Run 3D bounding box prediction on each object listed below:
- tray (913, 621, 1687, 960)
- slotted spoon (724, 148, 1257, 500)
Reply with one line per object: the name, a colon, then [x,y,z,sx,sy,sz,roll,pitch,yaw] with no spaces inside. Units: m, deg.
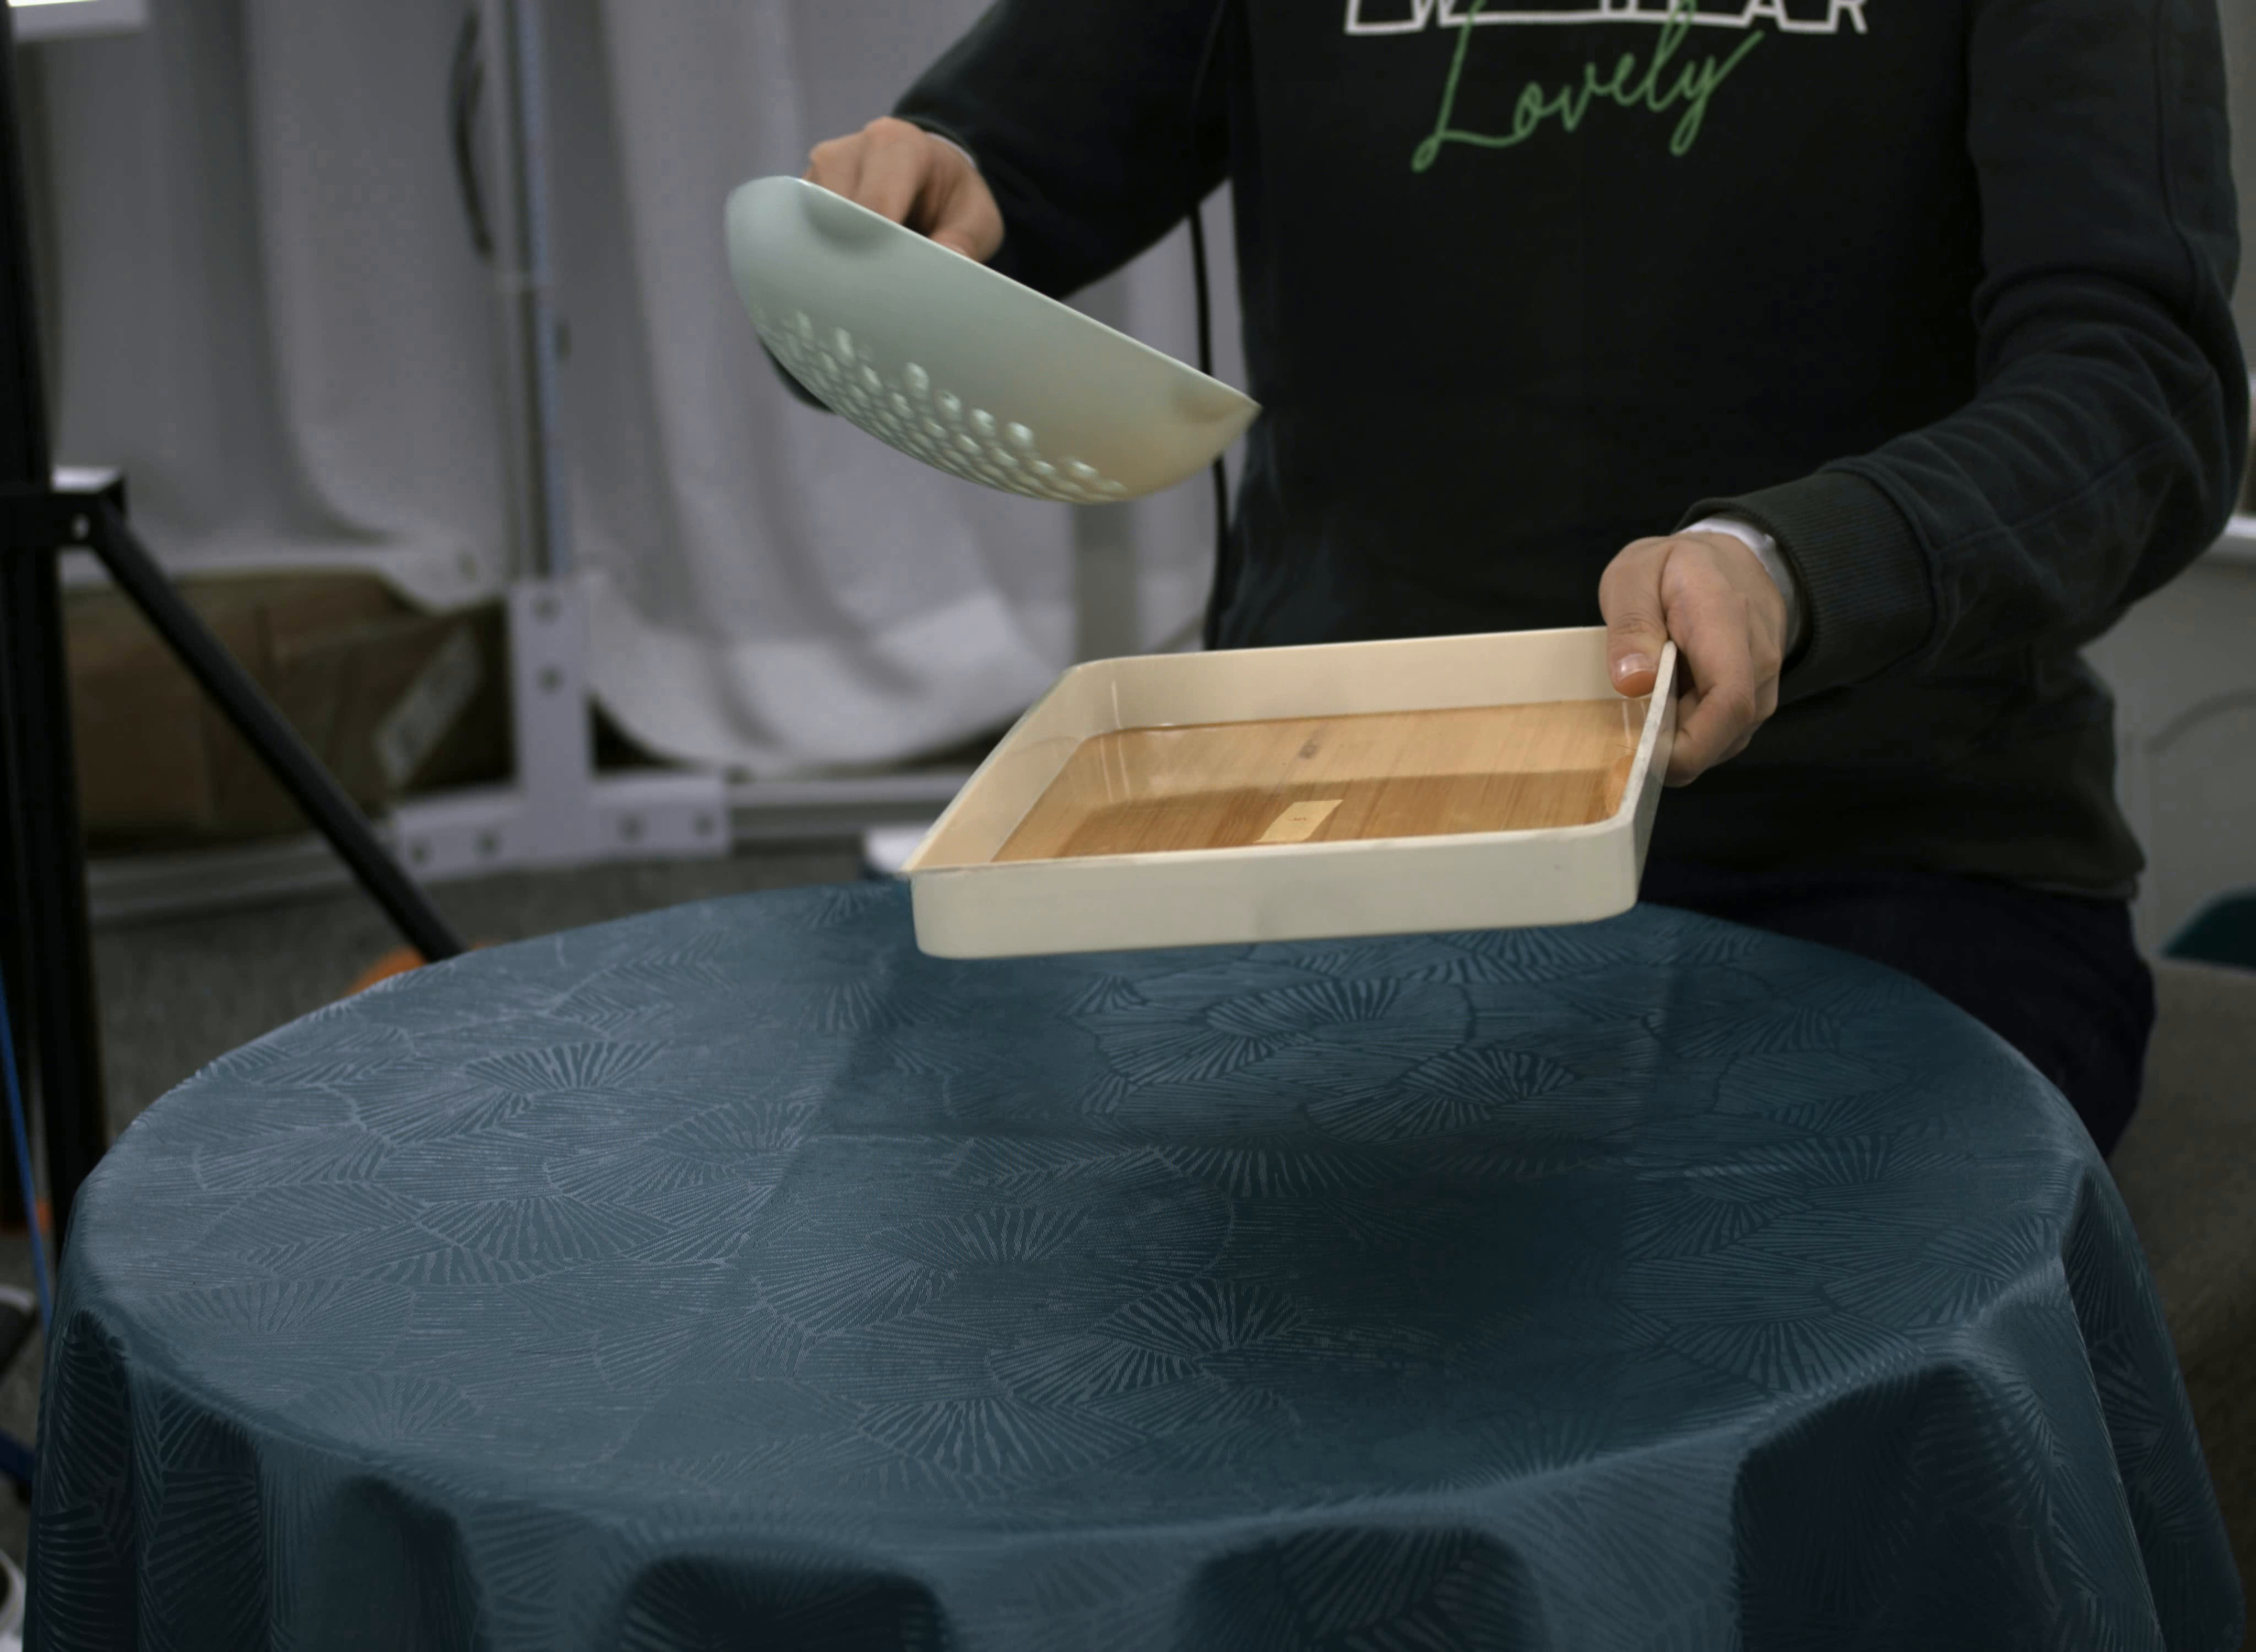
tray: [0.057,-0.013,1.487,0.192,0.027,0.299,-4,12,10]
slotted spoon: [-0.060,-0.162,1.652,0.167,0.075,0.362,26,11,-12]
